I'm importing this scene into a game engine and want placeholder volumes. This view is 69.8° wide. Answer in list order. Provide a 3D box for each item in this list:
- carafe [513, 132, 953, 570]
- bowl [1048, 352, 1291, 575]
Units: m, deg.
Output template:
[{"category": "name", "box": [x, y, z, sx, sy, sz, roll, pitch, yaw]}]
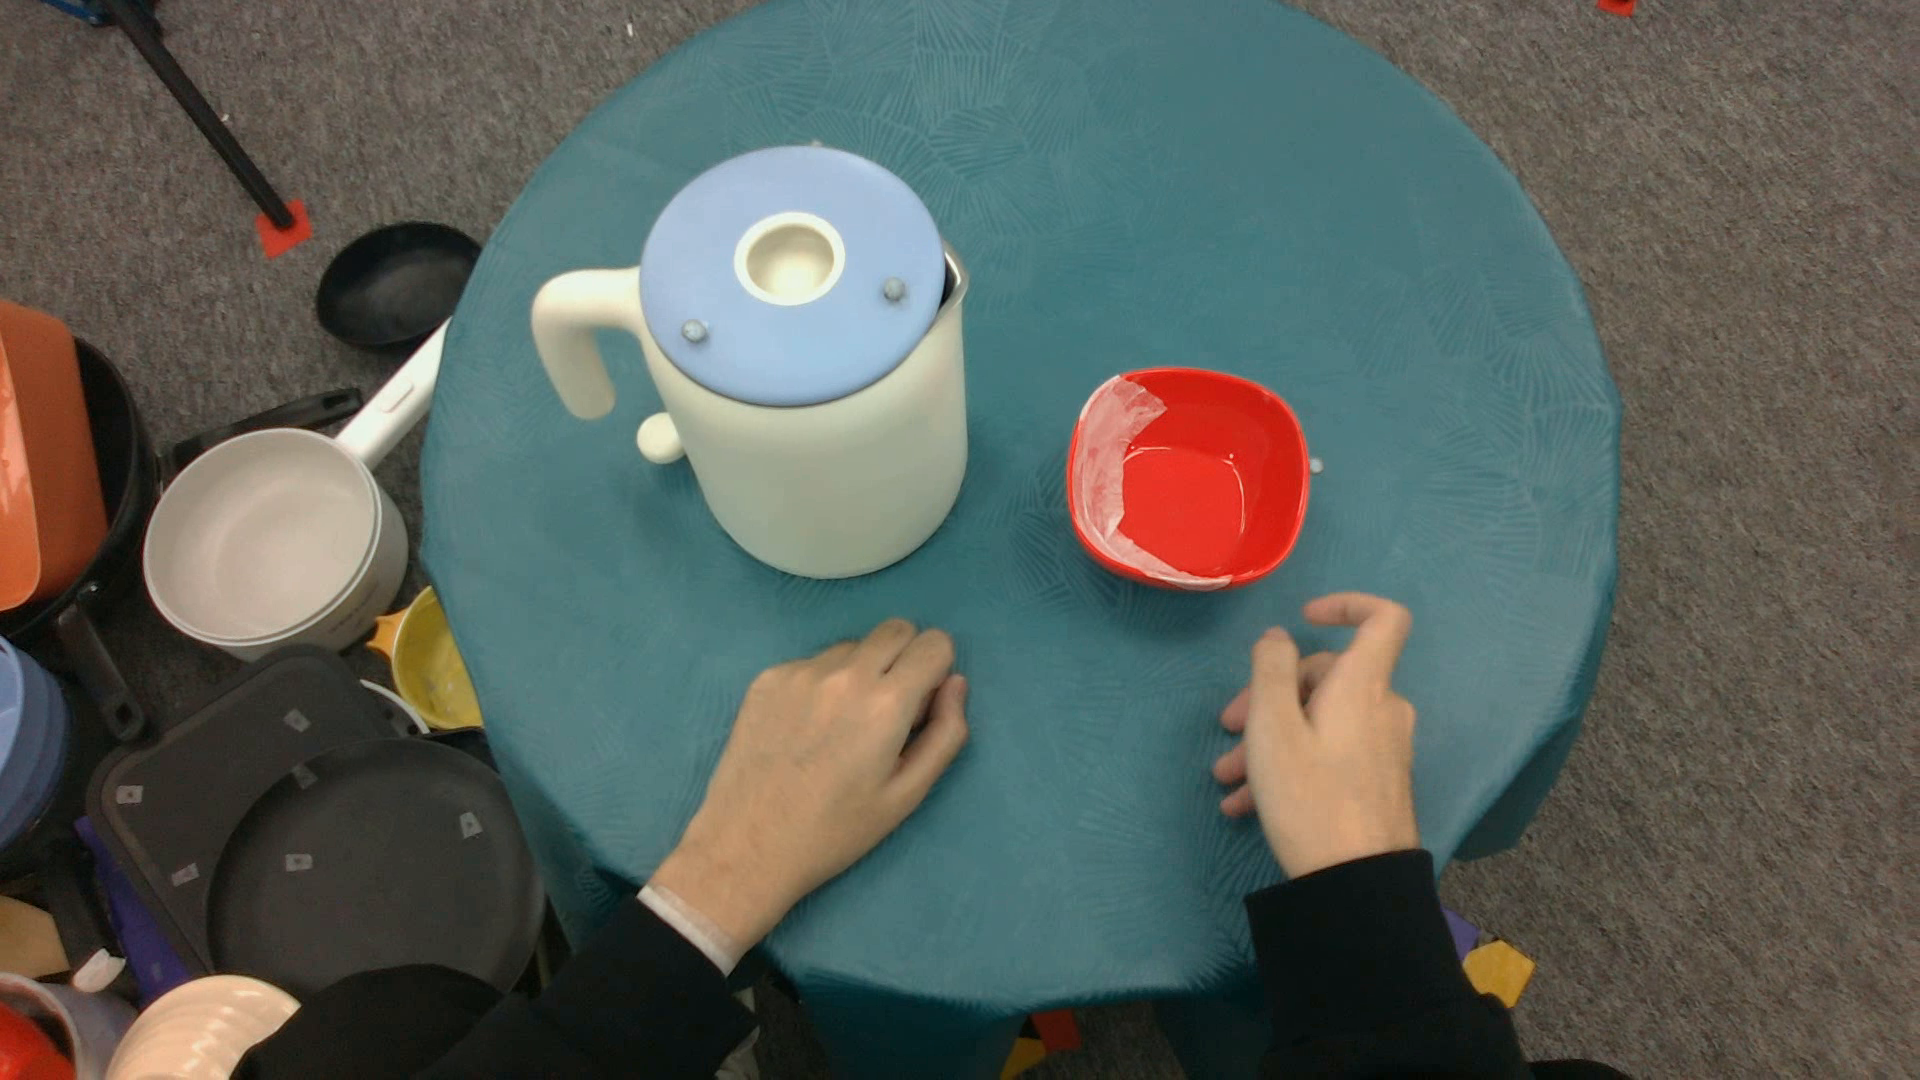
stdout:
[{"category": "carafe", "box": [-0.095, -0.077, 0.607, 0.191, 0.182, 0.132, -1, 65, 3]}, {"category": "bowl", "box": [0.095, -0.028, 0.648, 0.119, 0.051, 0.119, 1, 64, -2]}]
